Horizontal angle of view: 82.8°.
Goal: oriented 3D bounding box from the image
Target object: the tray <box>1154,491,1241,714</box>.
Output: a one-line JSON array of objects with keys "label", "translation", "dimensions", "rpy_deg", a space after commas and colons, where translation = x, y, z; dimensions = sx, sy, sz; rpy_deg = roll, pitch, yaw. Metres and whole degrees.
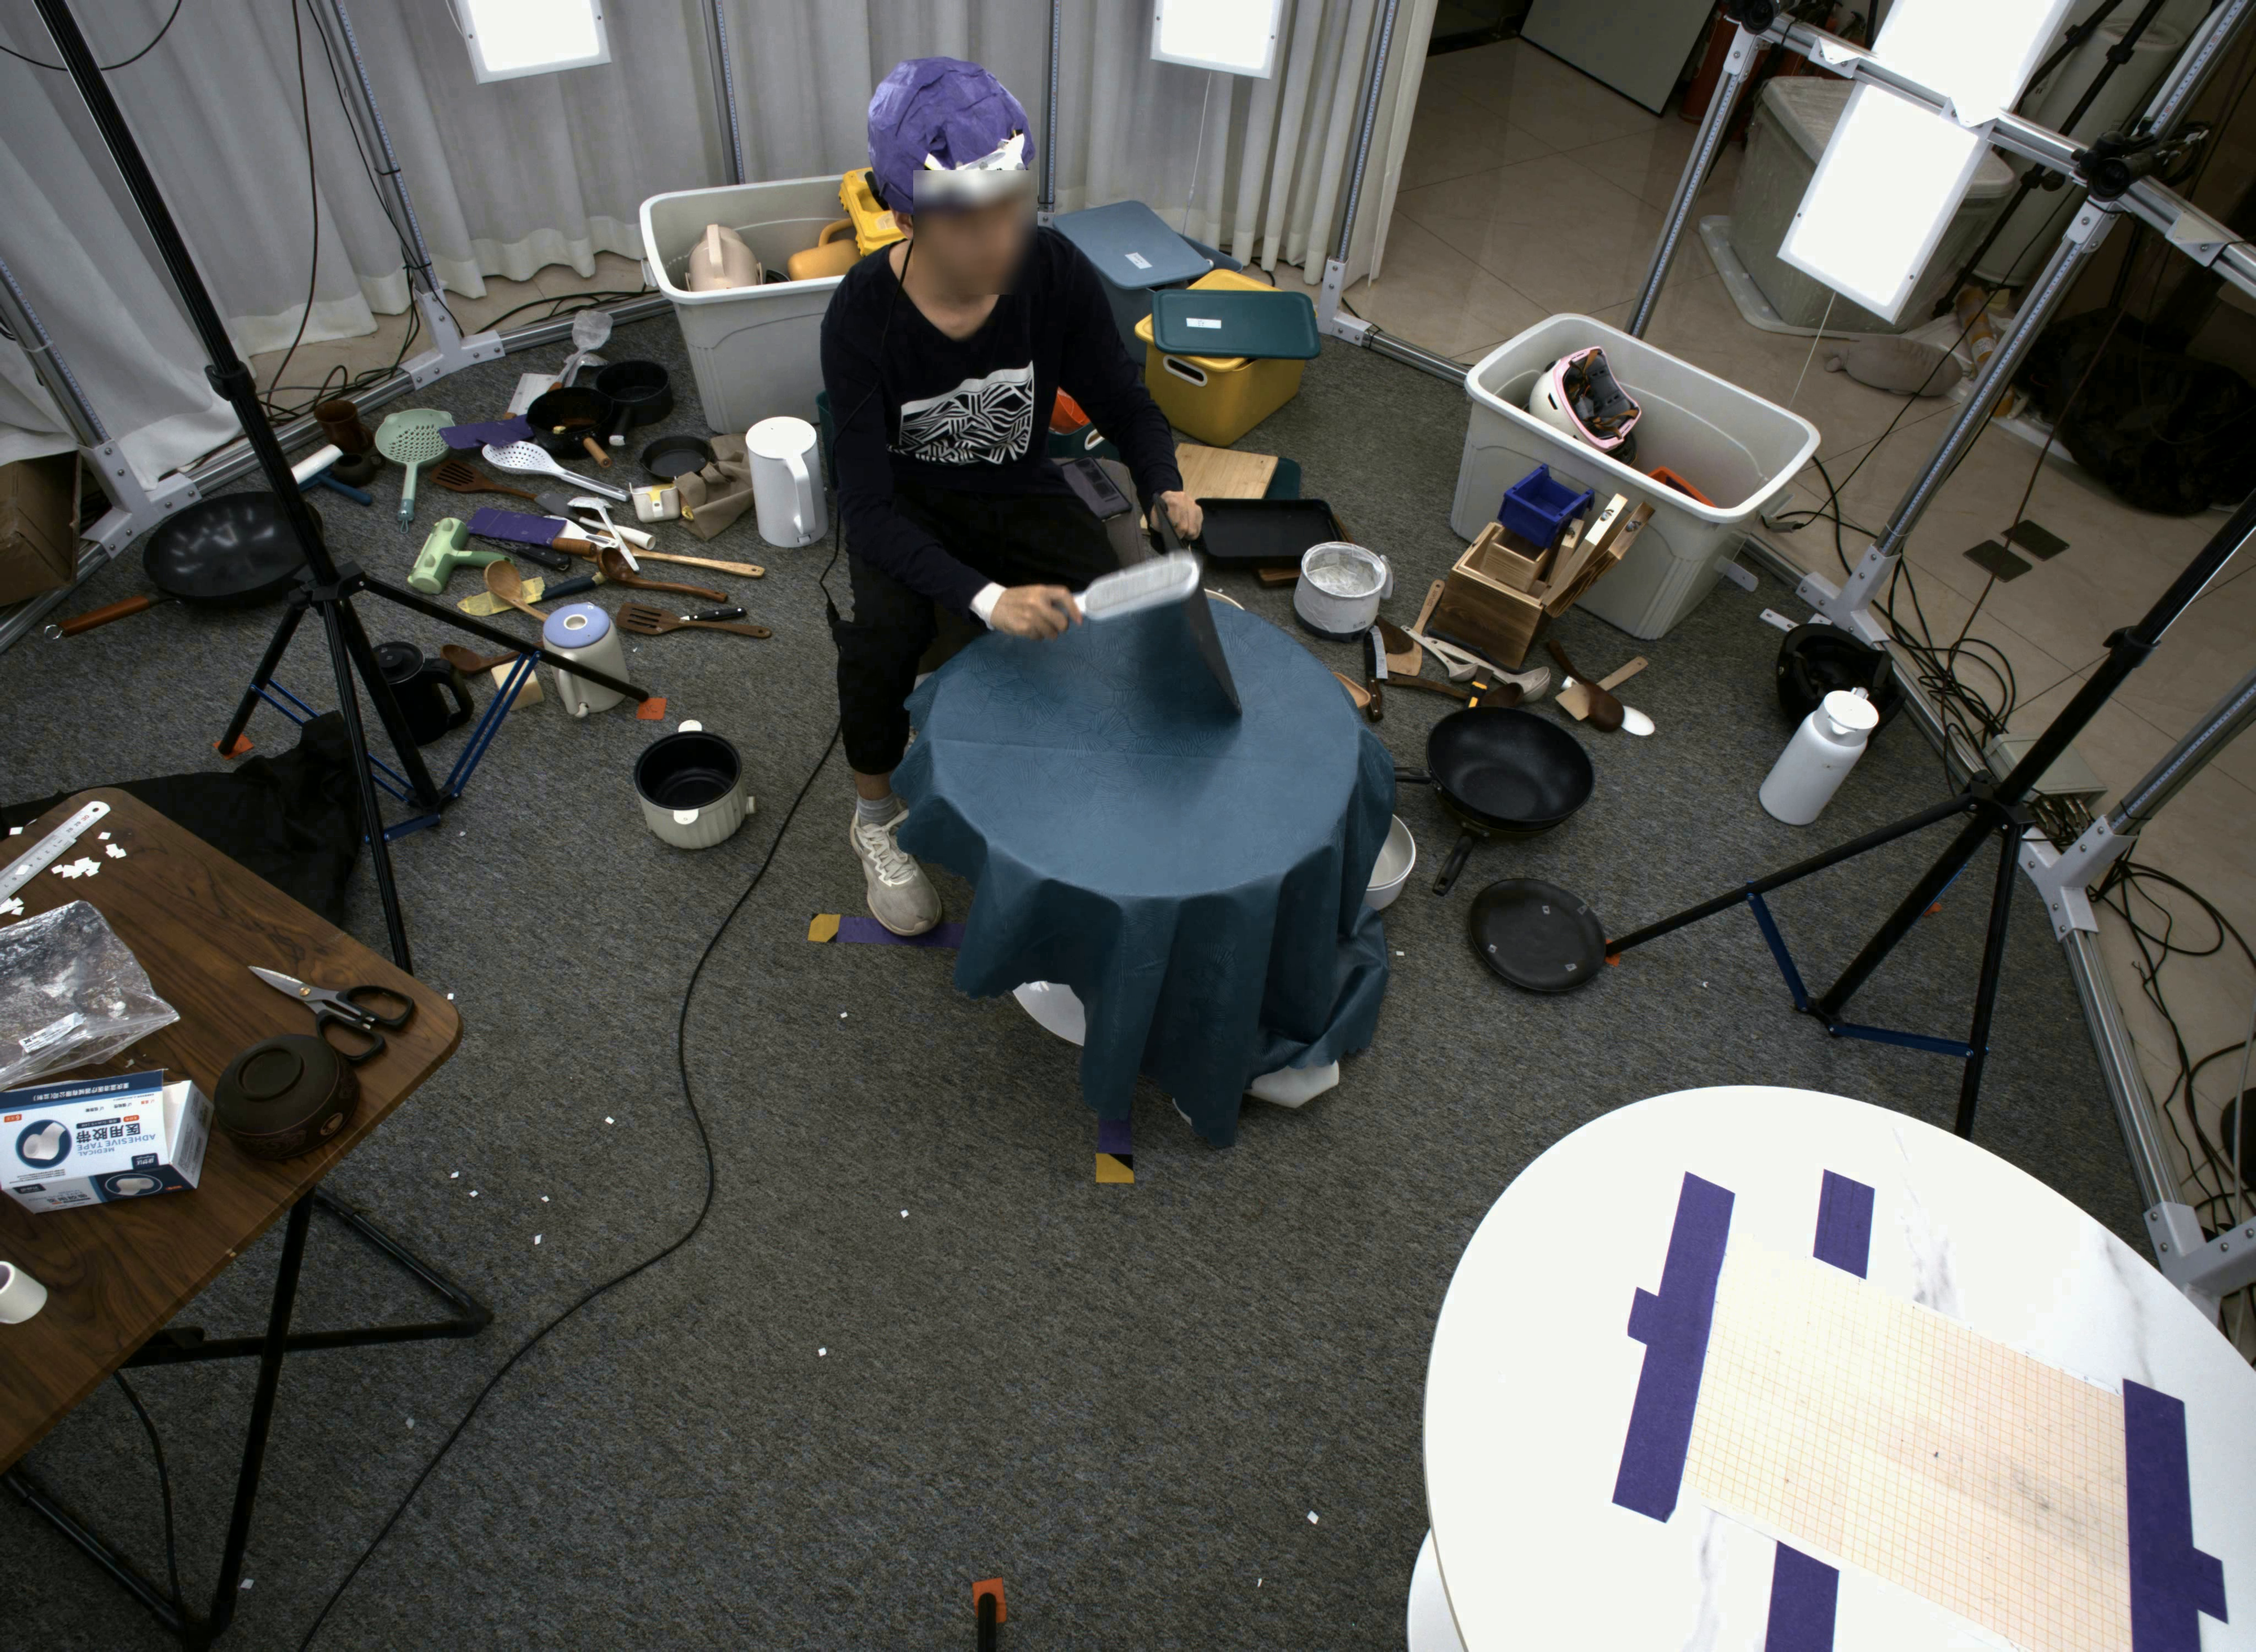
[{"label": "tray", "translation": [0.097, -0.323, 1.812], "dimensions": [0.010, 0.206, 0.333], "rpy_deg": [-21, 56, 13]}]

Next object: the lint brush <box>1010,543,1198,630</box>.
[{"label": "lint brush", "translation": [-0.038, -0.322, 1.761], "dimensions": [0.308, 0.020, 0.061], "rpy_deg": [-13, 69, 31]}]
